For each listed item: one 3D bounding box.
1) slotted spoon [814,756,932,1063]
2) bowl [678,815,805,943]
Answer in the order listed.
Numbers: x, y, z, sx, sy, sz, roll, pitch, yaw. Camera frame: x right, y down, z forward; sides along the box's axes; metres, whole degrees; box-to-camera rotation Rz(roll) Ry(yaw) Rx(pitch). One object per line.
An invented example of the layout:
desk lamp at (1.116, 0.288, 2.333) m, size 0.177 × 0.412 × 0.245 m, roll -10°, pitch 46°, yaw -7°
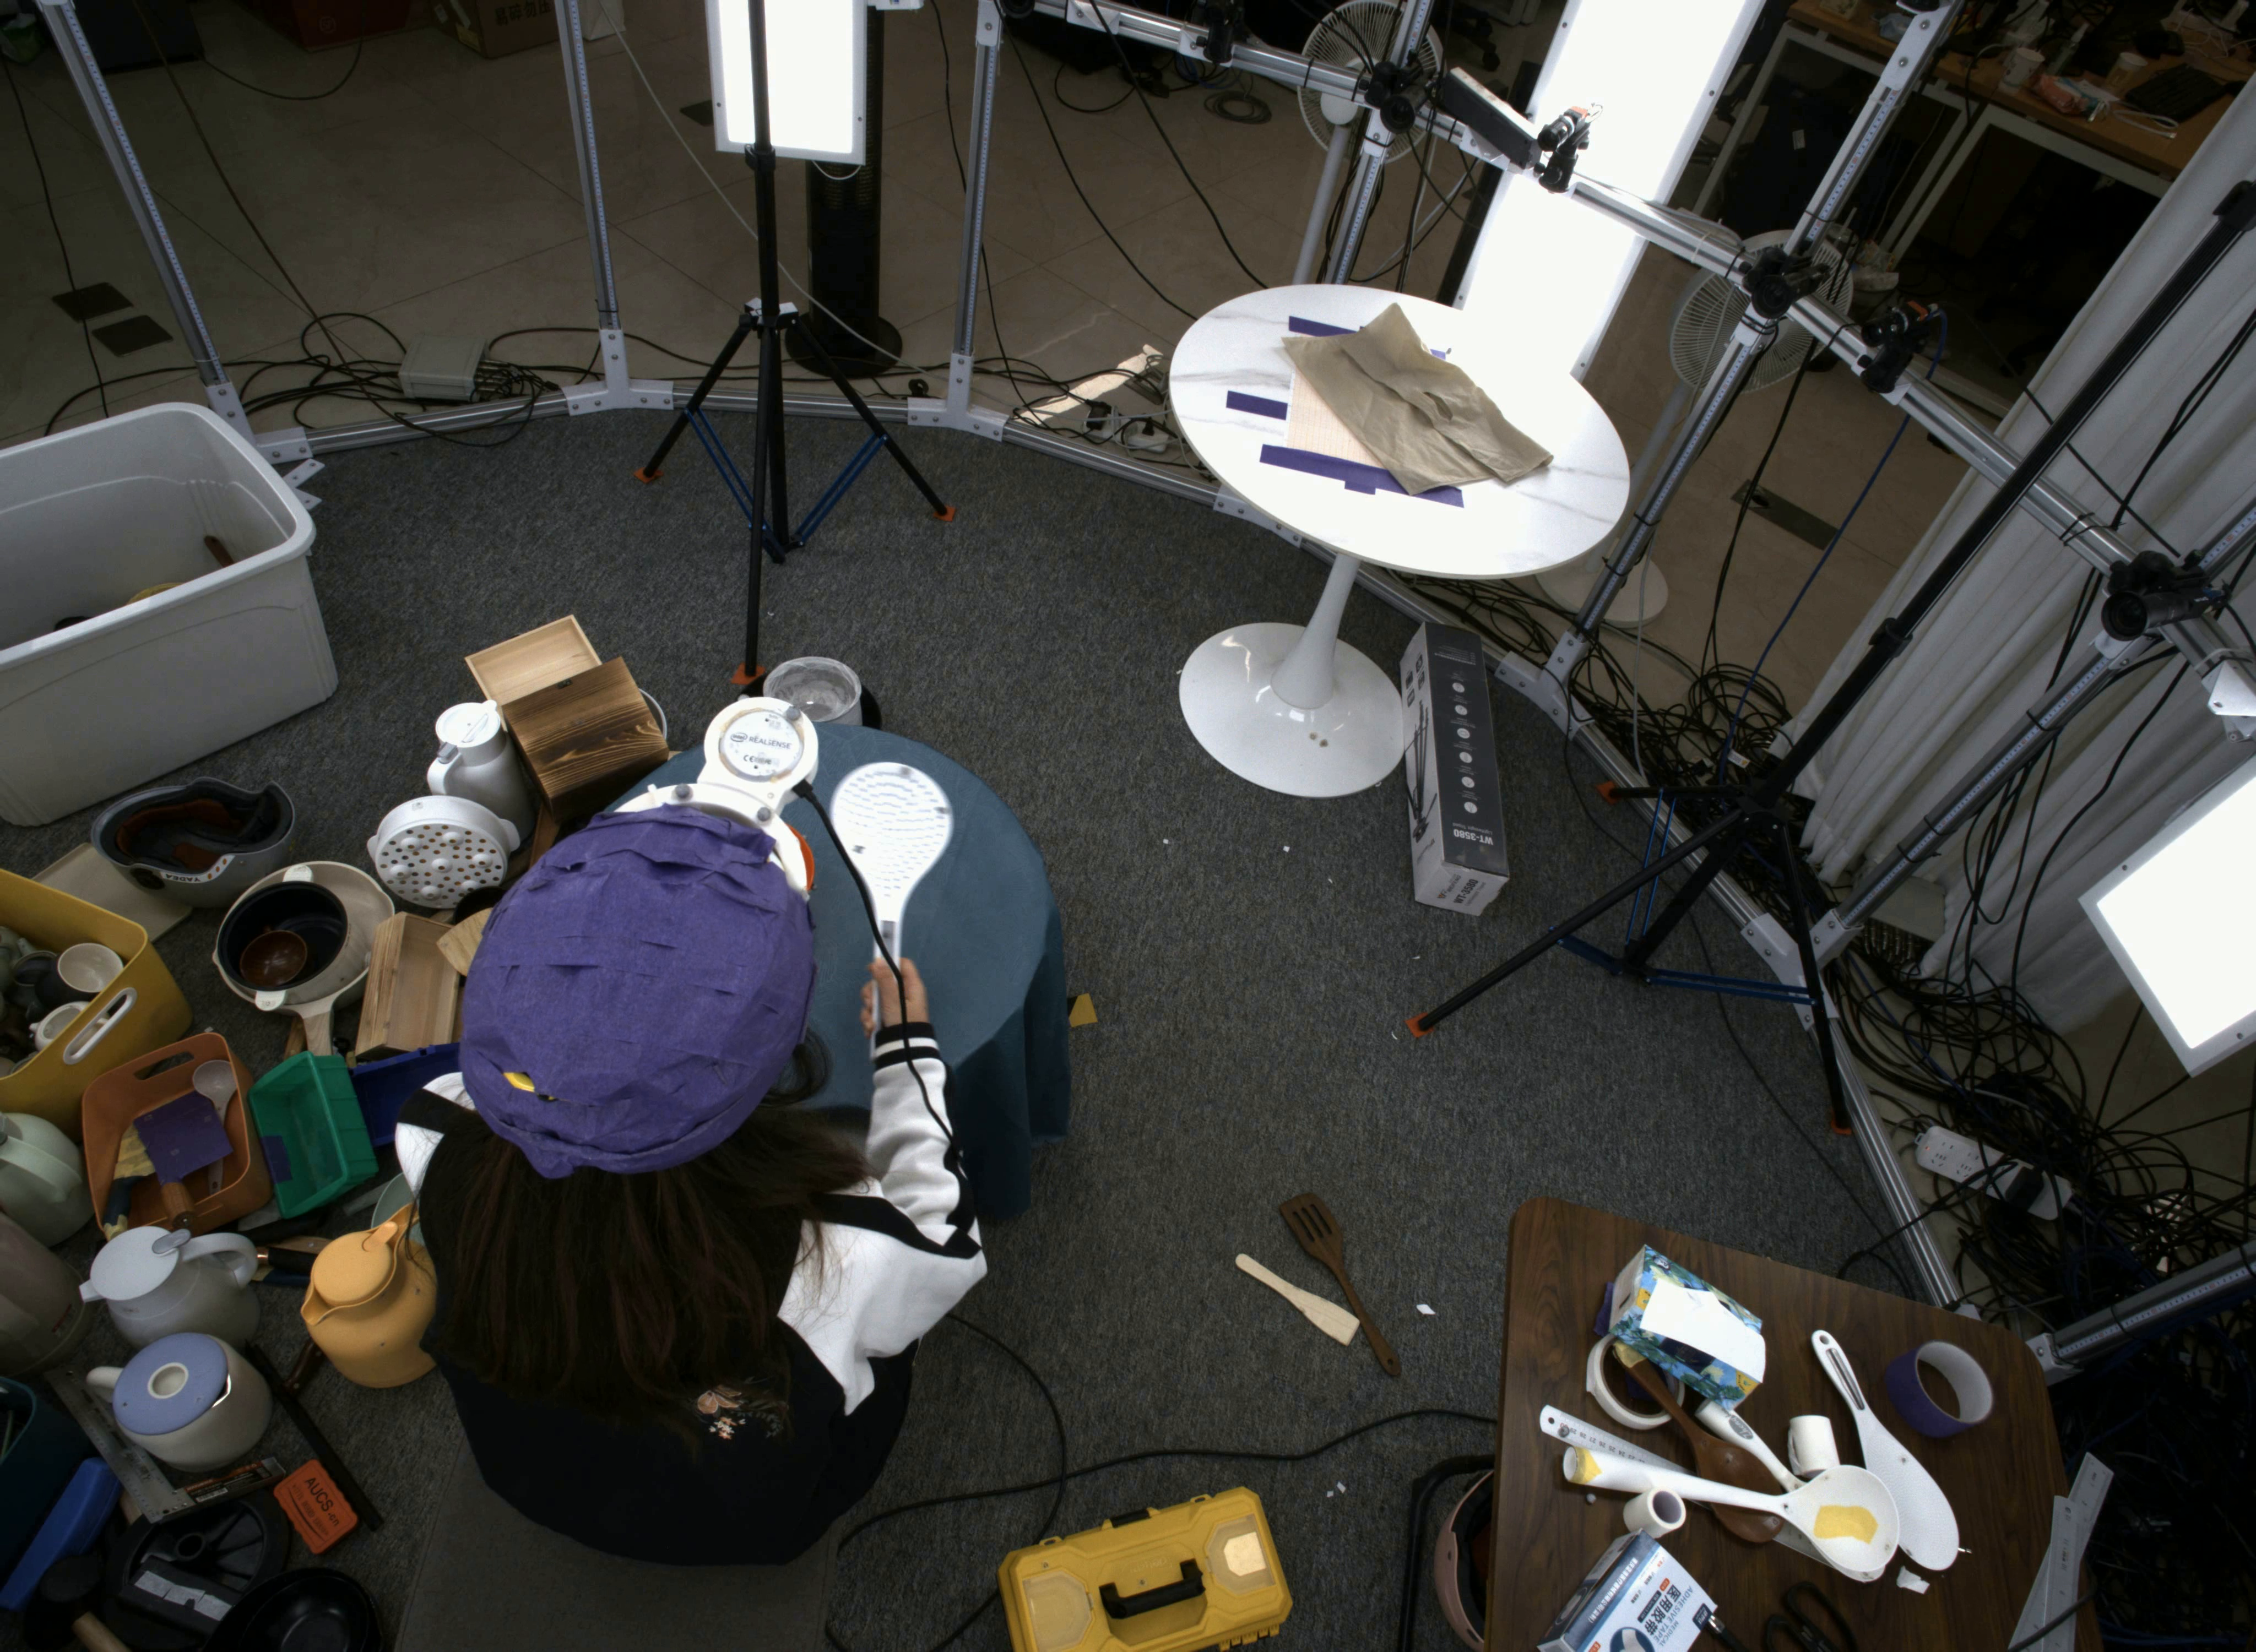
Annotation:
slotted spoon at (-0.285, 0.087, 1.443) m, size 0.138 × 0.045 × 0.345 m, roll 7°, pitch 63°, yaw -26°
bowl at (-0.468, 0.075, 1.572) m, size 0.148 × 0.107 × 0.145 m, roll 9°, pitch 49°, yaw -9°
